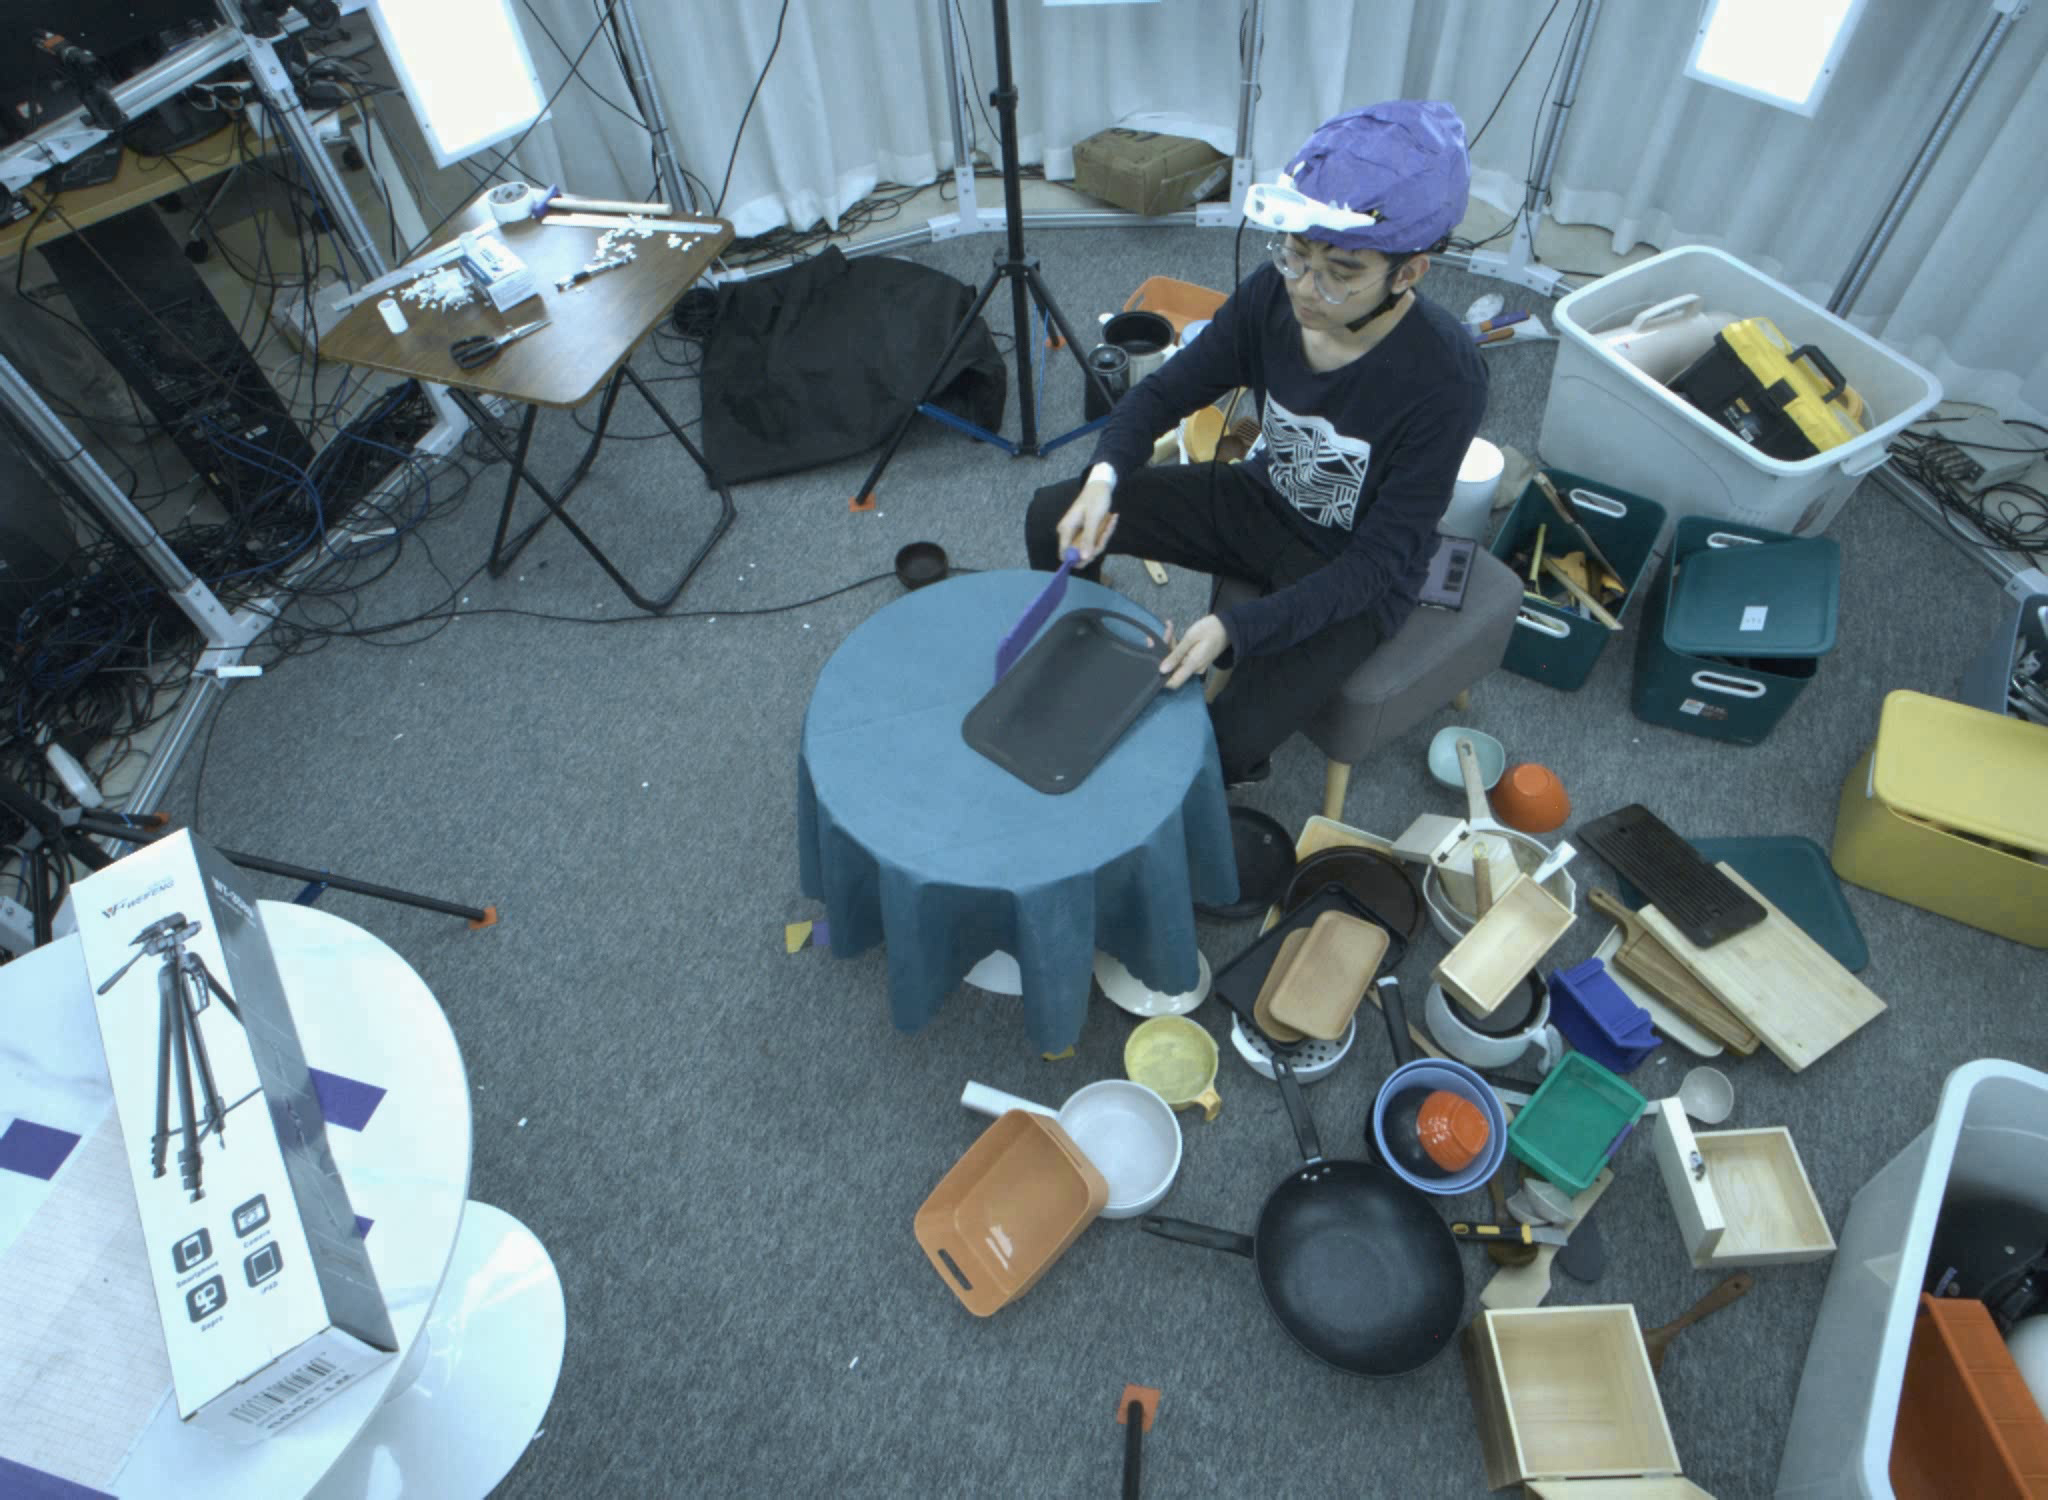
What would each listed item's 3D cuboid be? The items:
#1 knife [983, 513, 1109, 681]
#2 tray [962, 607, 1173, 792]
[{"bbox_3d":[0.029,-0.229,1.822,0.032,0.104,0.316,33,61,11],"label":"knife"},{"bbox_3d":[0.070,-0.088,1.836,0.207,0.010,0.327,33,66,22],"label":"tray"}]
